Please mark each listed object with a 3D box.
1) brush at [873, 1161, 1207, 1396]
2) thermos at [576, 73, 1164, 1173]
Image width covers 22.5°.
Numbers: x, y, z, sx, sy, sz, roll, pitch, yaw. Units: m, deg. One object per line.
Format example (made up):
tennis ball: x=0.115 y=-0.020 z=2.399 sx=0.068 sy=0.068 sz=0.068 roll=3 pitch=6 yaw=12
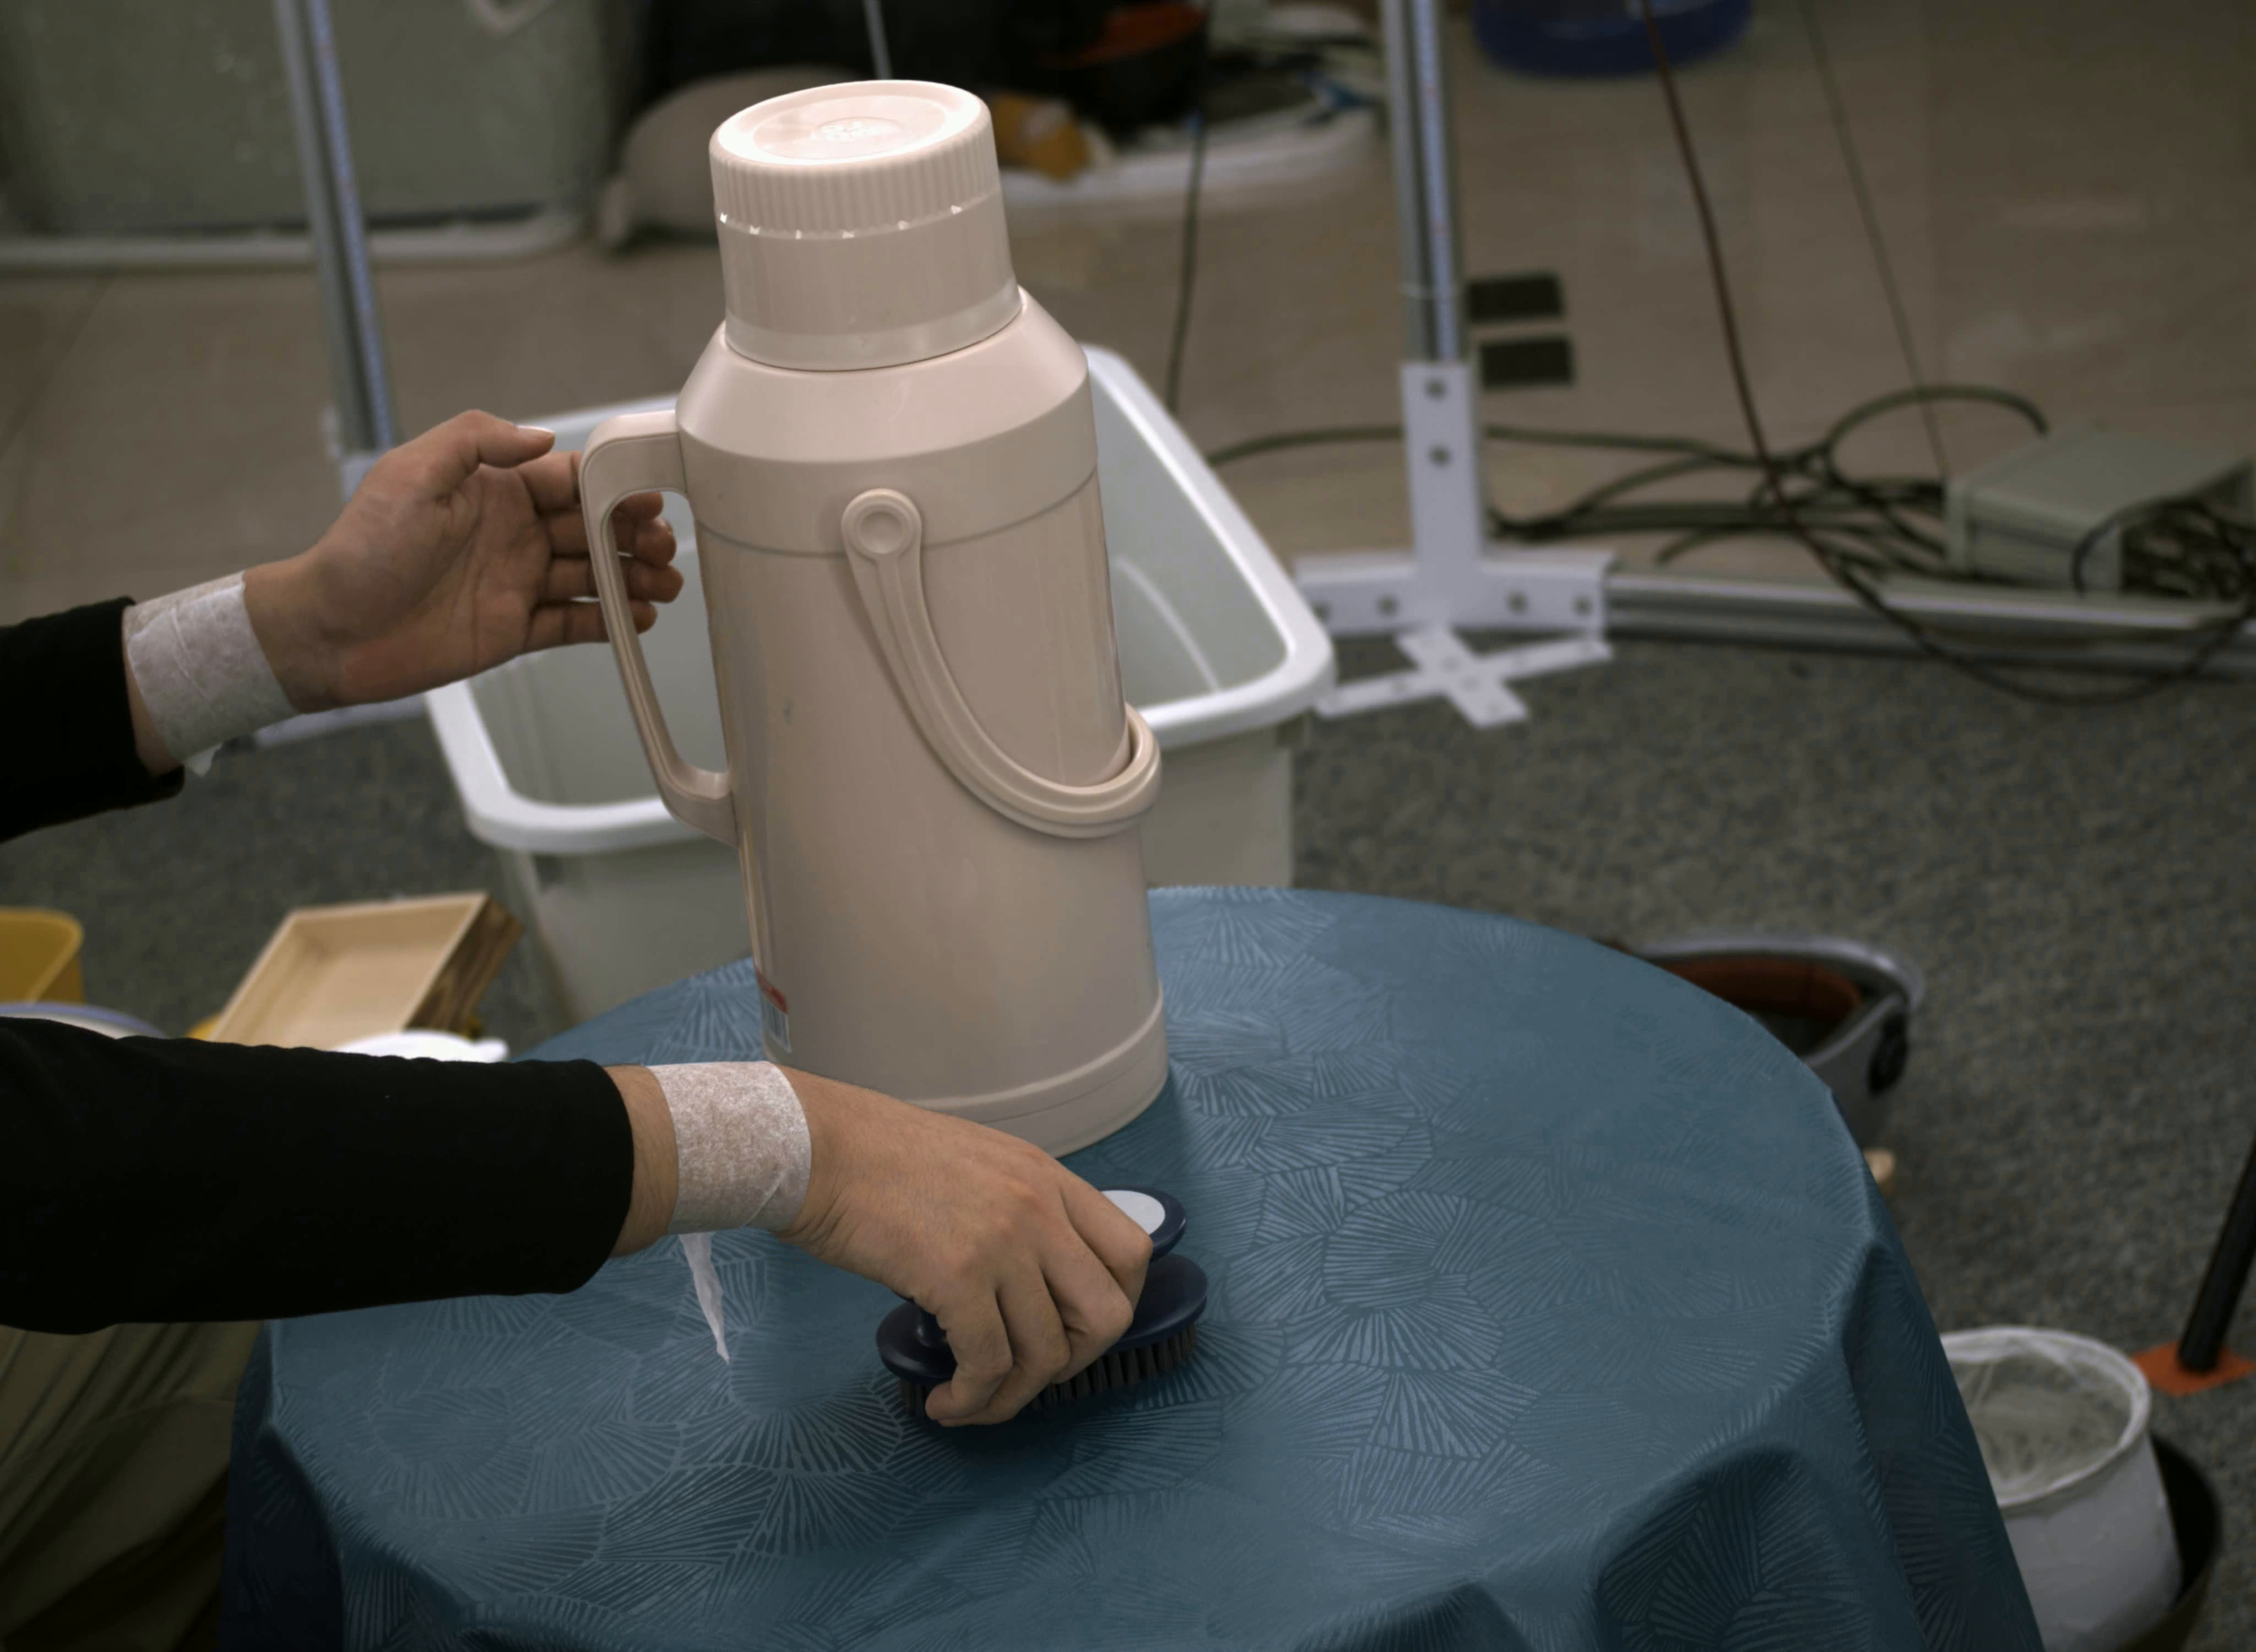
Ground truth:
brush: x=-0.032 y=0.163 z=2.023 sx=0.121 sy=0.062 sz=0.067 roll=-11 pitch=28 yaw=-8
thermos: x=-0.097 y=-0.077 z=2.158 sx=0.207 sy=0.413 sz=0.172 roll=-5 pitch=27 yaw=1
